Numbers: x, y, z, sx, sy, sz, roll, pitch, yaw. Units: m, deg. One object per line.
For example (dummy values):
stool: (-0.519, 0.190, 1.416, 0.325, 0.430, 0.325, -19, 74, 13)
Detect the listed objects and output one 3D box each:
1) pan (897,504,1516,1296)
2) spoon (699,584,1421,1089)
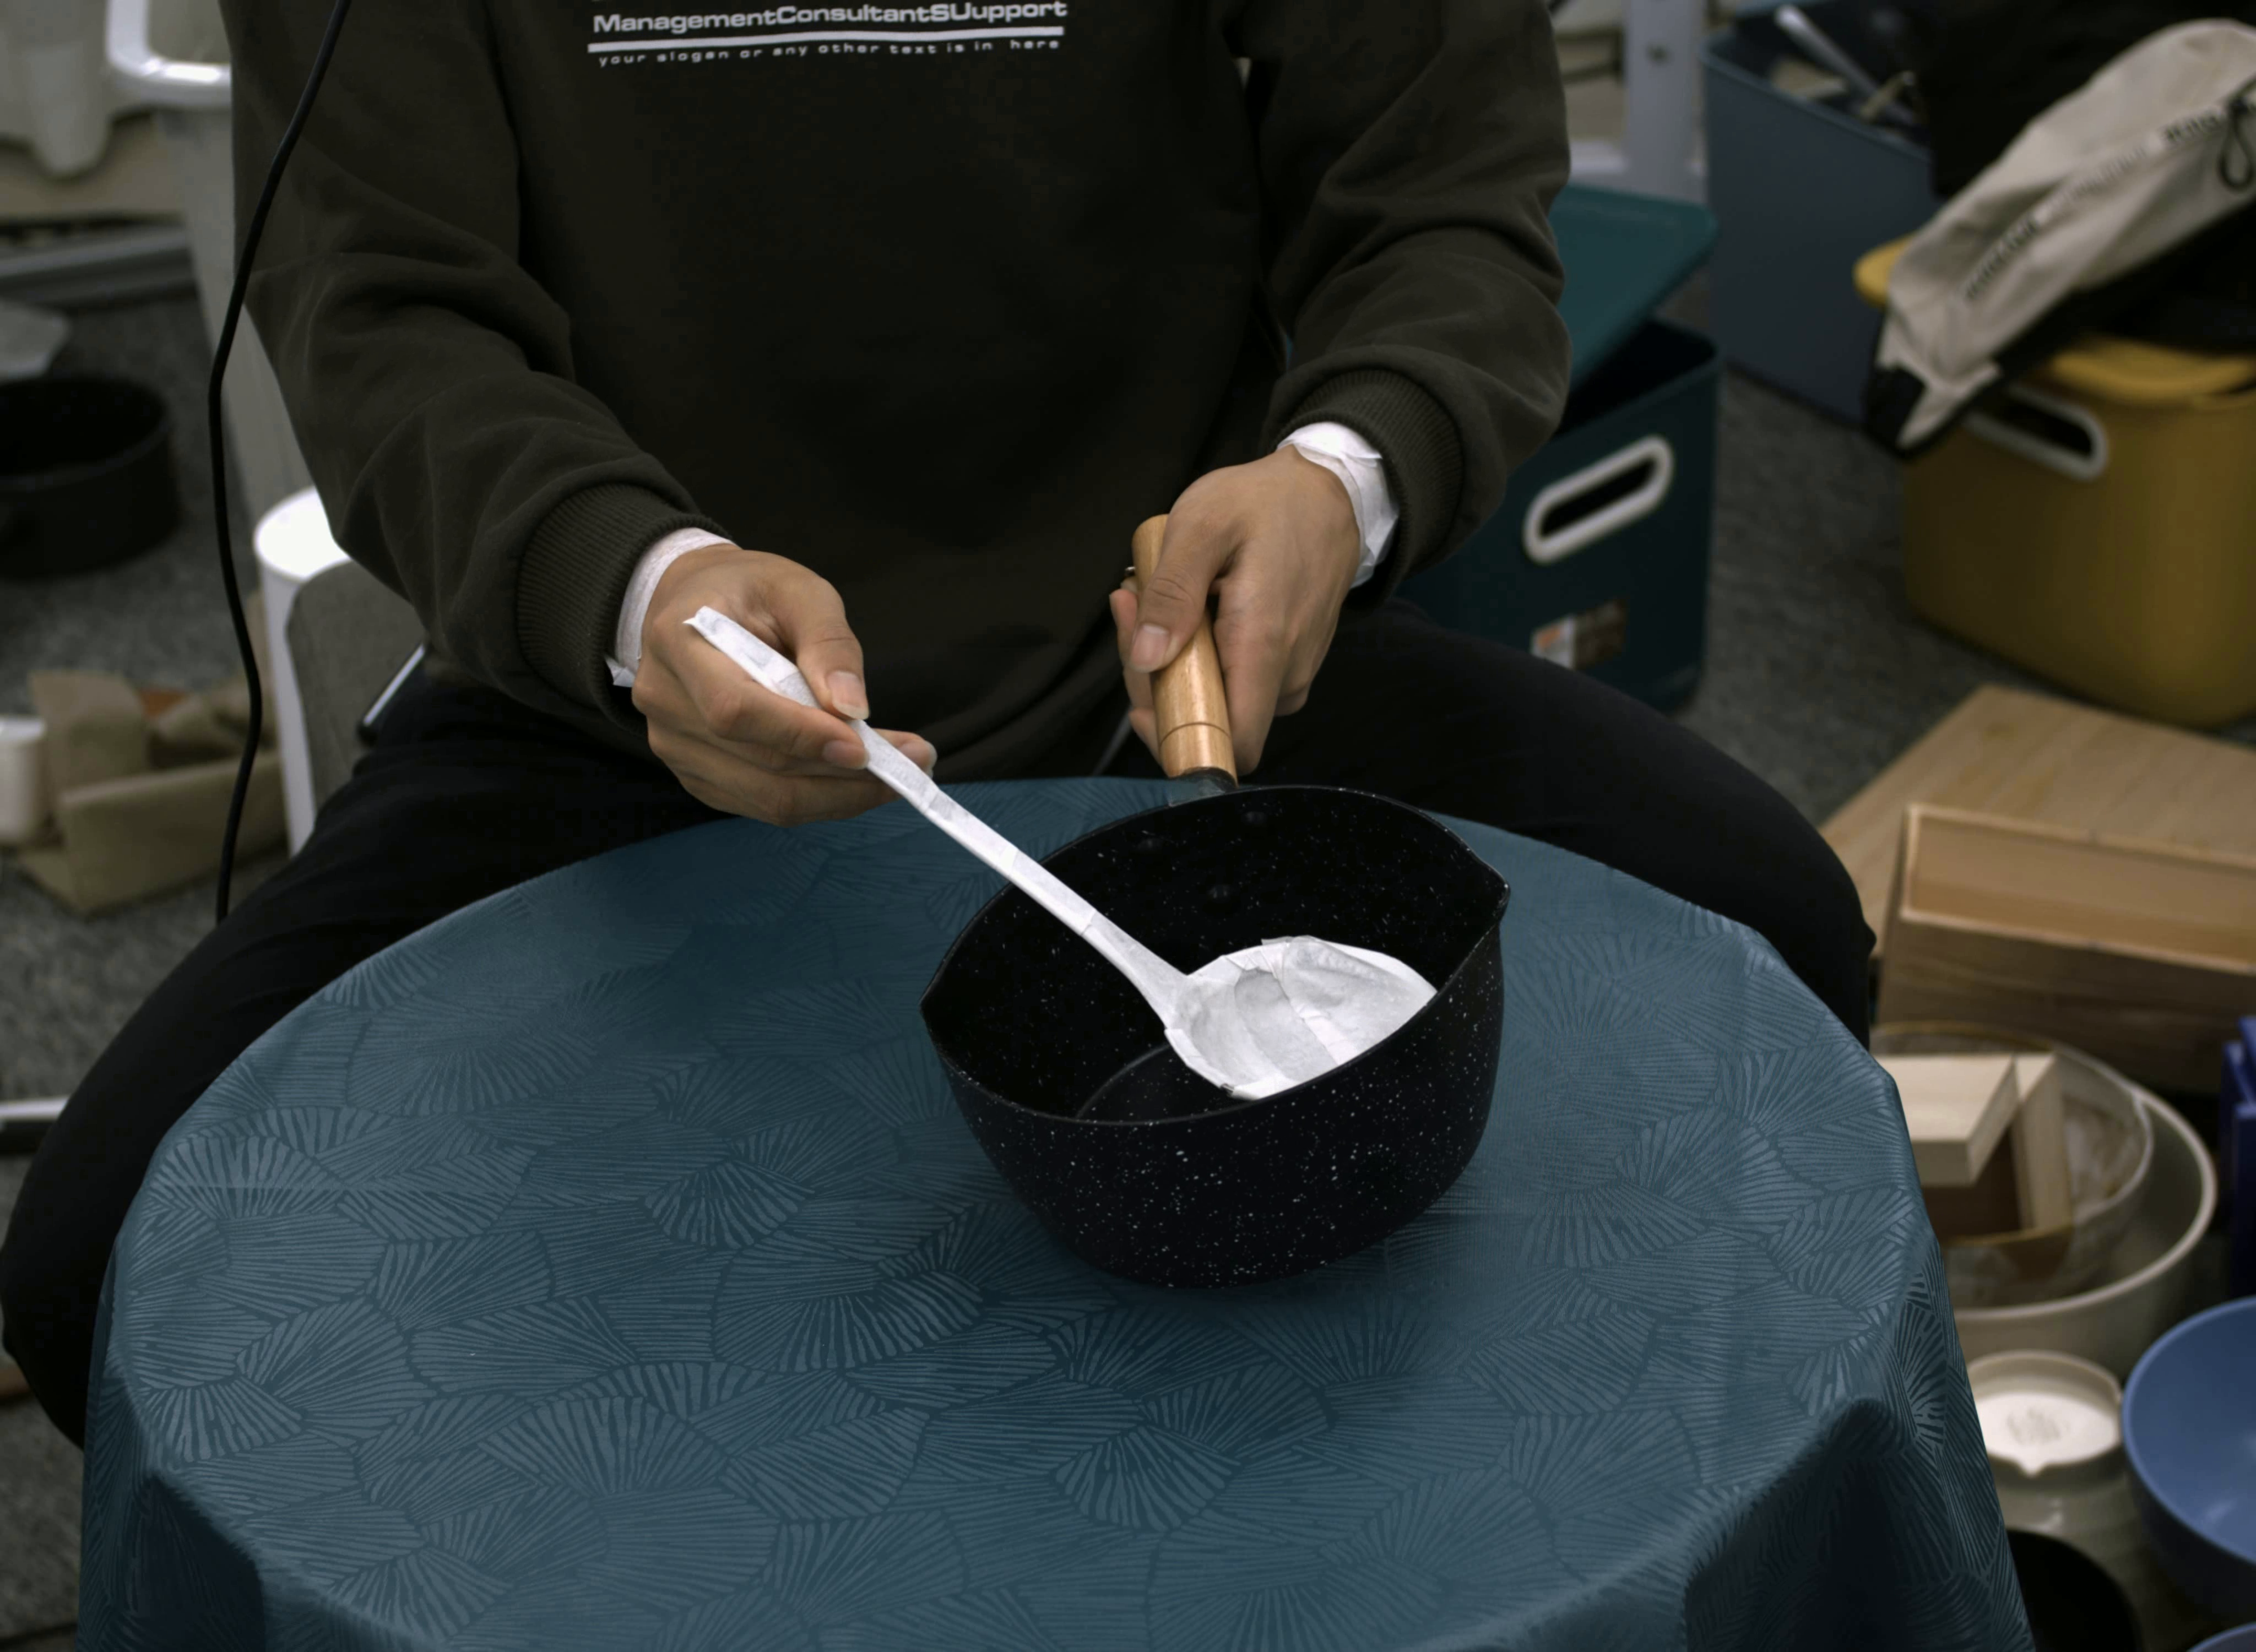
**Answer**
pan: (0.028, 0.021, 1.896, 0.206, 0.107, 0.348, -14, 33, 5)
spoon: (-0.017, -0.003, 1.811, 0.277, 0.058, 0.102, 41, 34, -1)
